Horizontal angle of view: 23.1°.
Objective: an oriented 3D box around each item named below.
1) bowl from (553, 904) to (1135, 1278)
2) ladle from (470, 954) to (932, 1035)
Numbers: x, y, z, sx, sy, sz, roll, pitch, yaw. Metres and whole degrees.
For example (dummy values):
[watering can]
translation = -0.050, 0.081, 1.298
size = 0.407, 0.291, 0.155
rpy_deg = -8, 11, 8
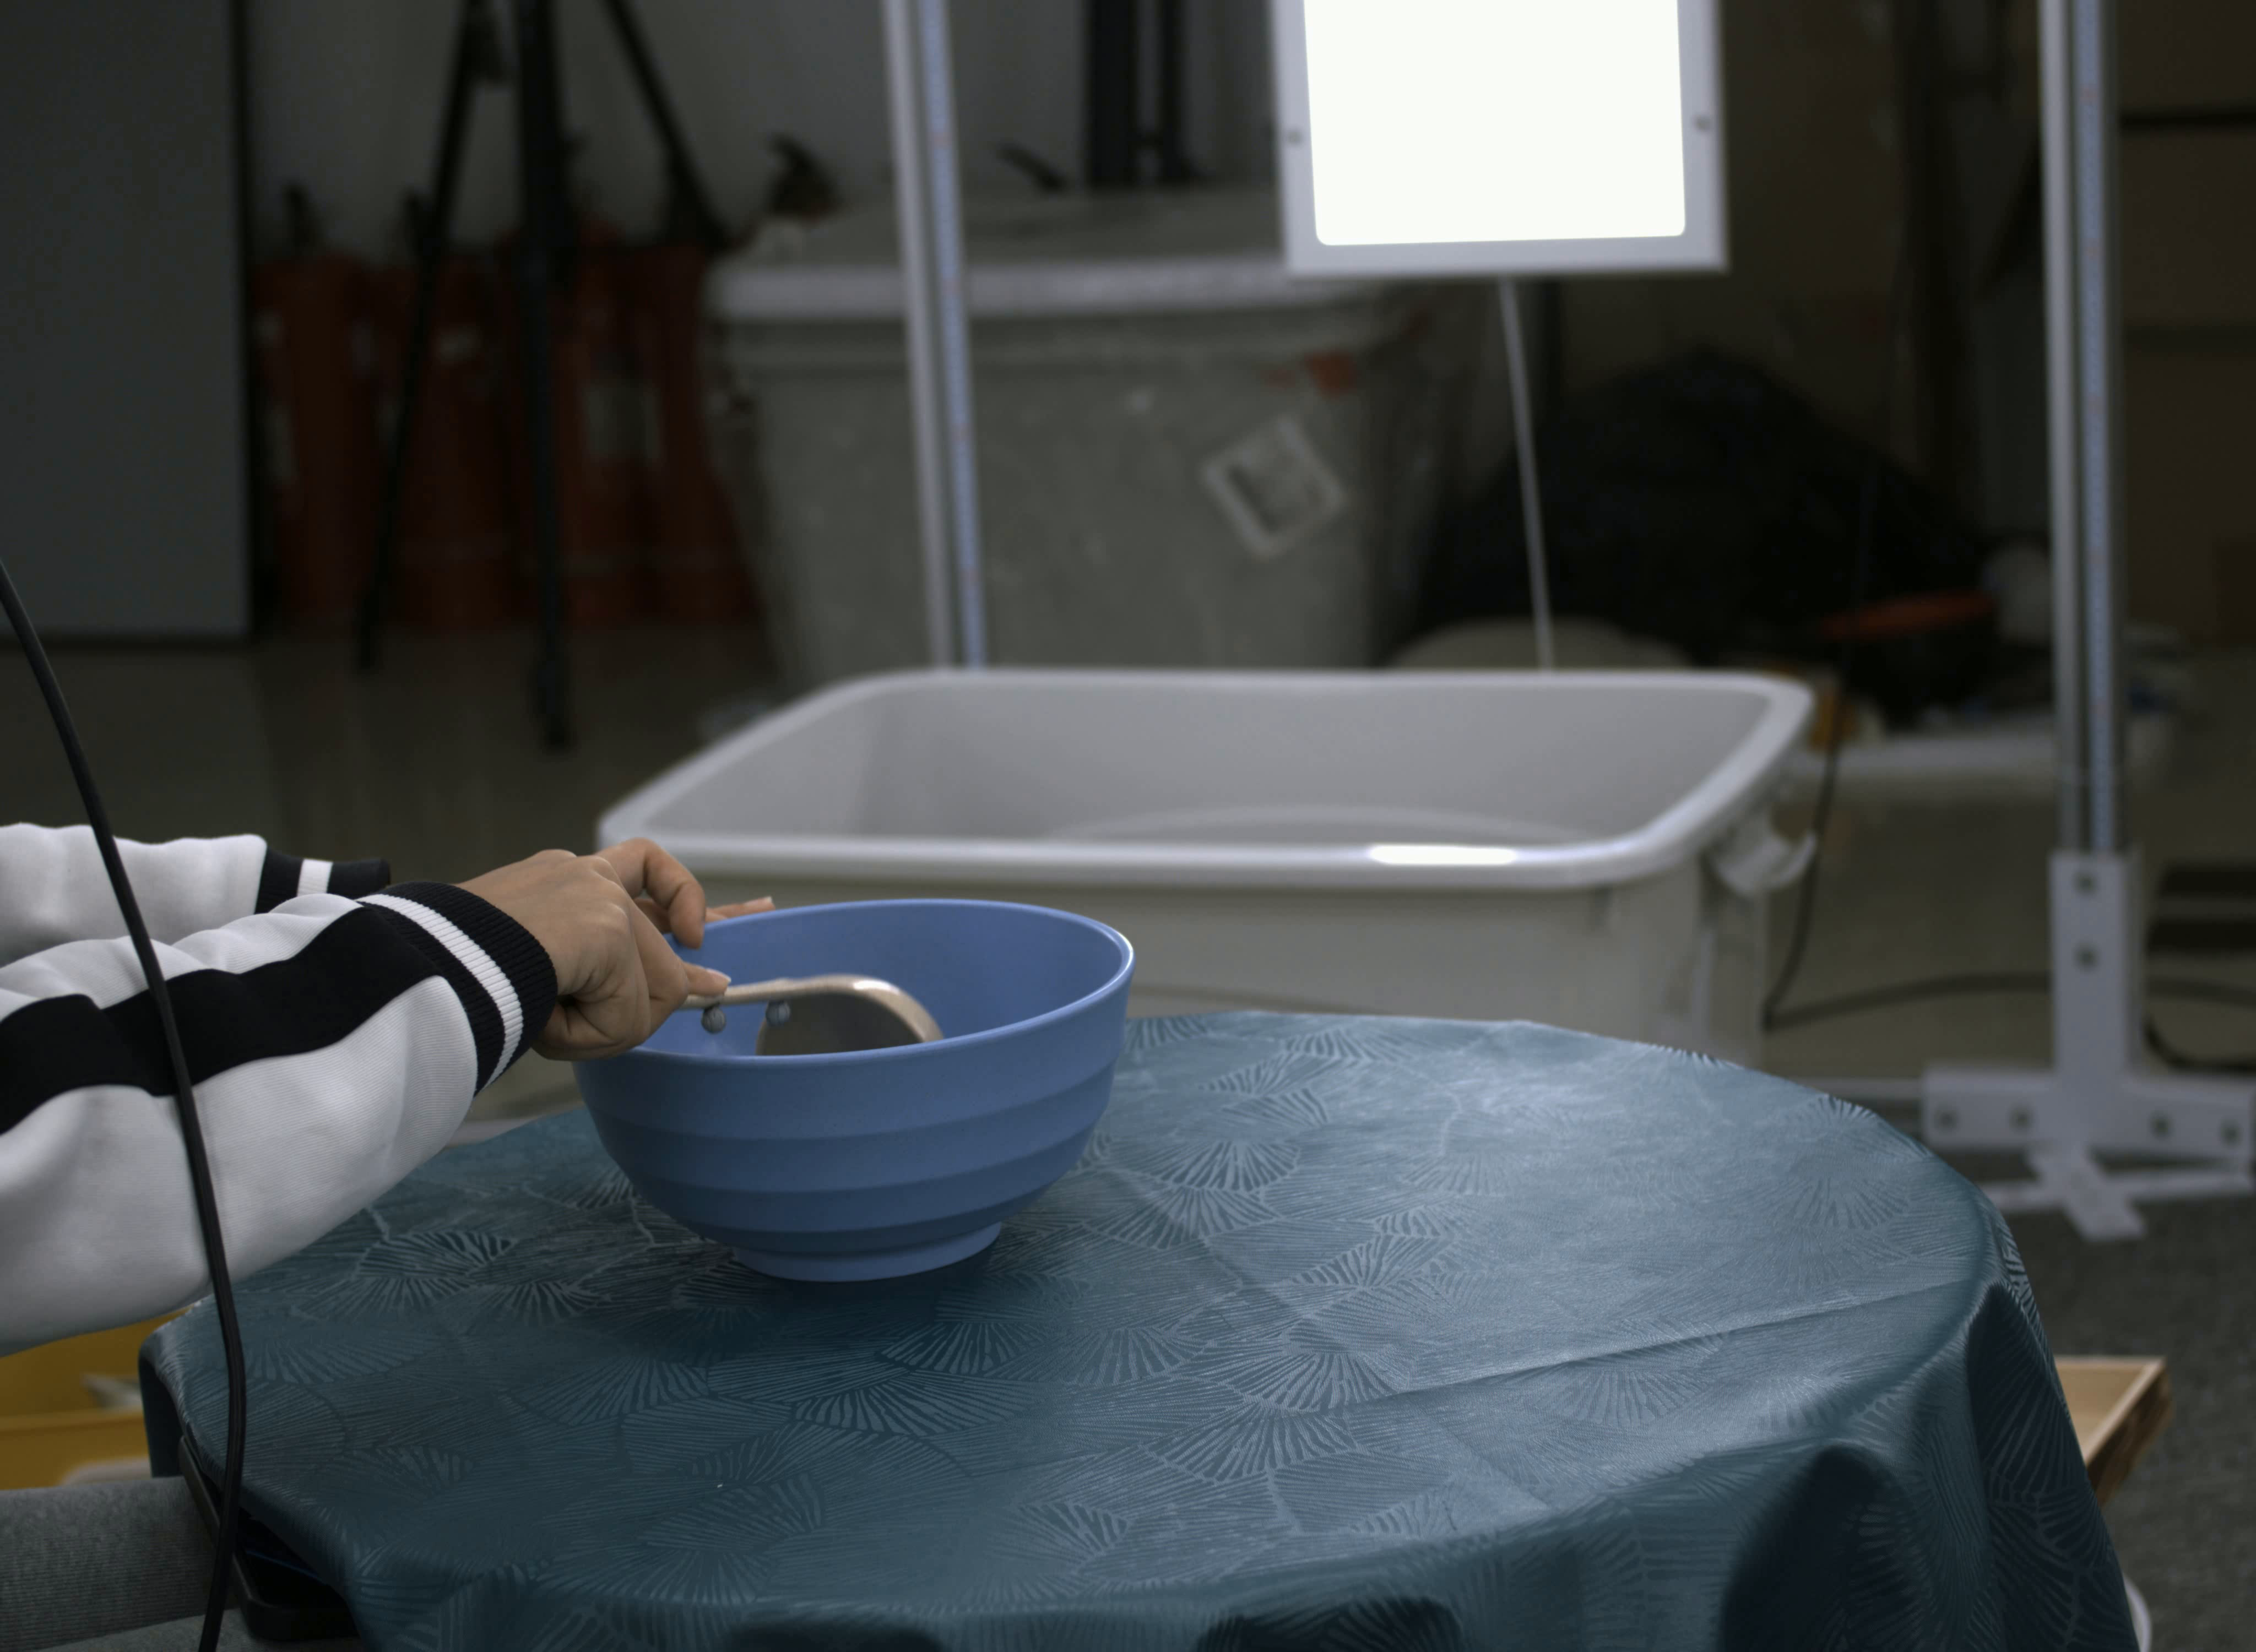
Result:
[bowl]
translation = -0.093, 0.094, 1.861
size = 0.196, 0.096, 0.196
rpy_deg = -3, 12, -1
[ladle]
translation = -0.139, 0.083, 1.785
size = 0.073, 0.073, 0.249
rpy_deg = 5, -1, 29
